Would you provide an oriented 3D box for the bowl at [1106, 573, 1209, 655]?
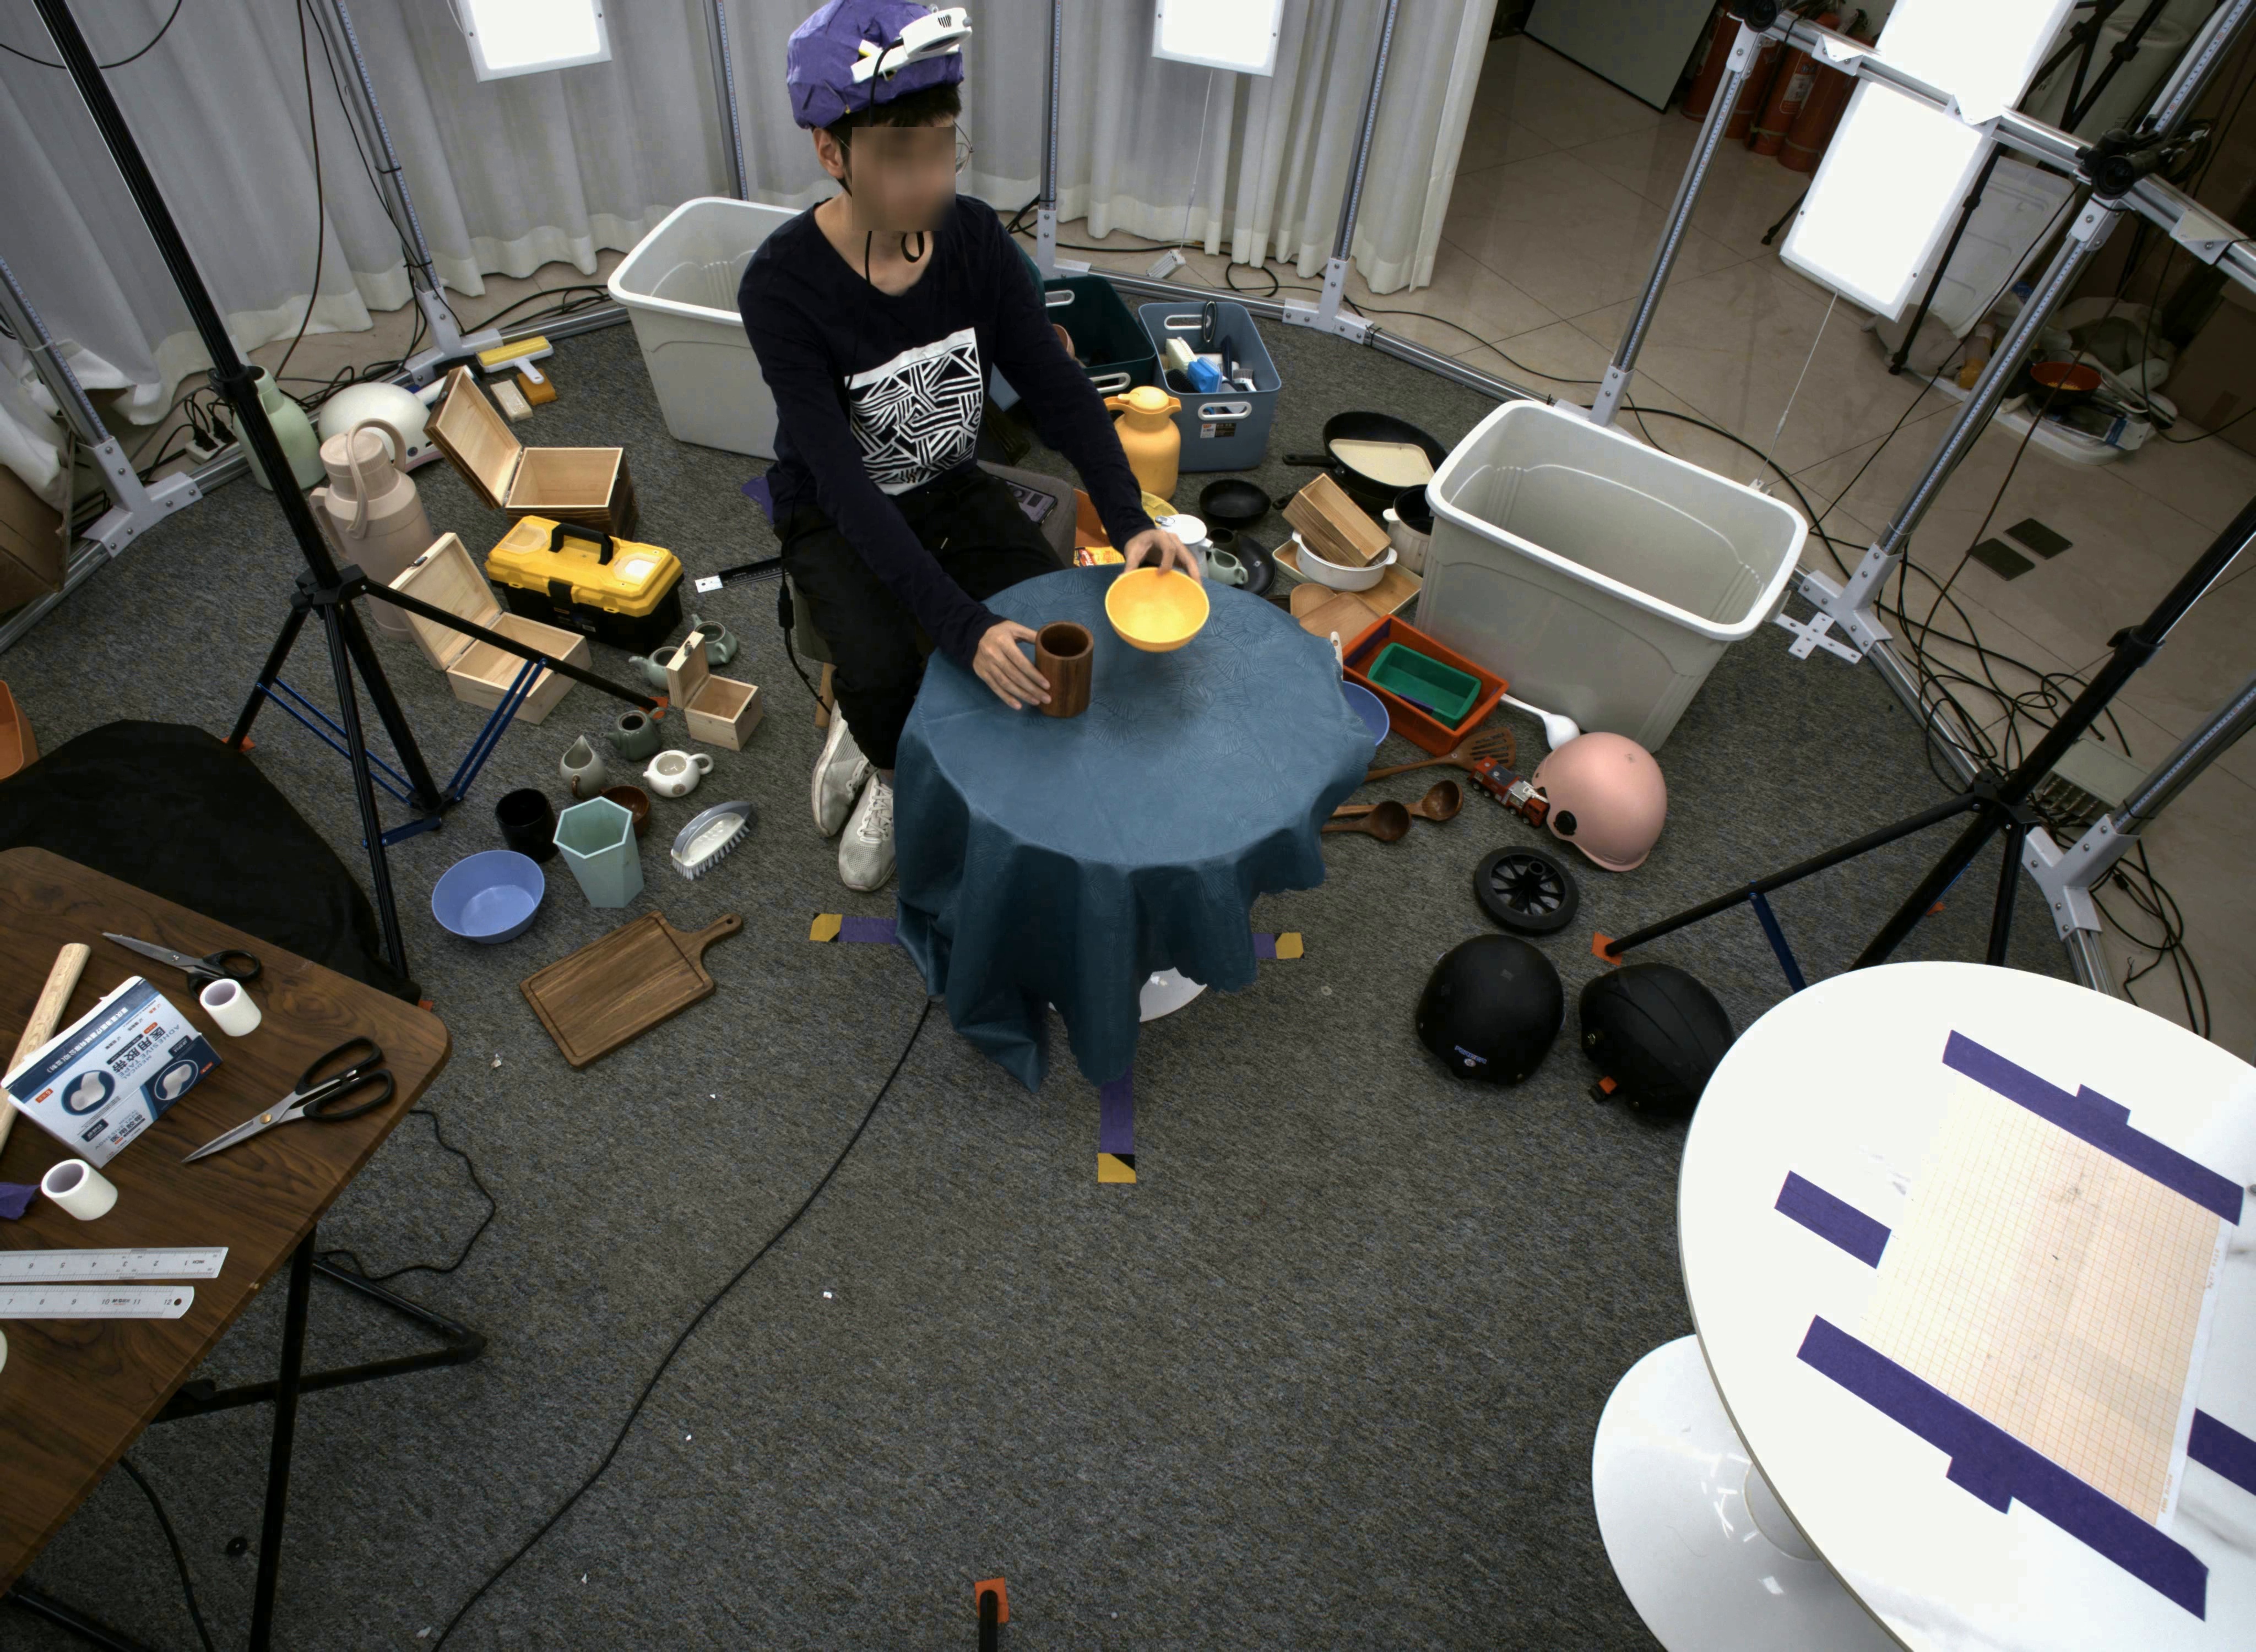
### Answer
[{"bbox_3d":[0.039,-0.287,1.808,0.145,0.058,0.149,2,51,-2],"label":"bowl"}]

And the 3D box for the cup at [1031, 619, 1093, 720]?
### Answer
[{"bbox_3d":[-0.093,-0.216,1.773,0.087,0.115,0.090,4,46,-4],"label":"cup"}]
